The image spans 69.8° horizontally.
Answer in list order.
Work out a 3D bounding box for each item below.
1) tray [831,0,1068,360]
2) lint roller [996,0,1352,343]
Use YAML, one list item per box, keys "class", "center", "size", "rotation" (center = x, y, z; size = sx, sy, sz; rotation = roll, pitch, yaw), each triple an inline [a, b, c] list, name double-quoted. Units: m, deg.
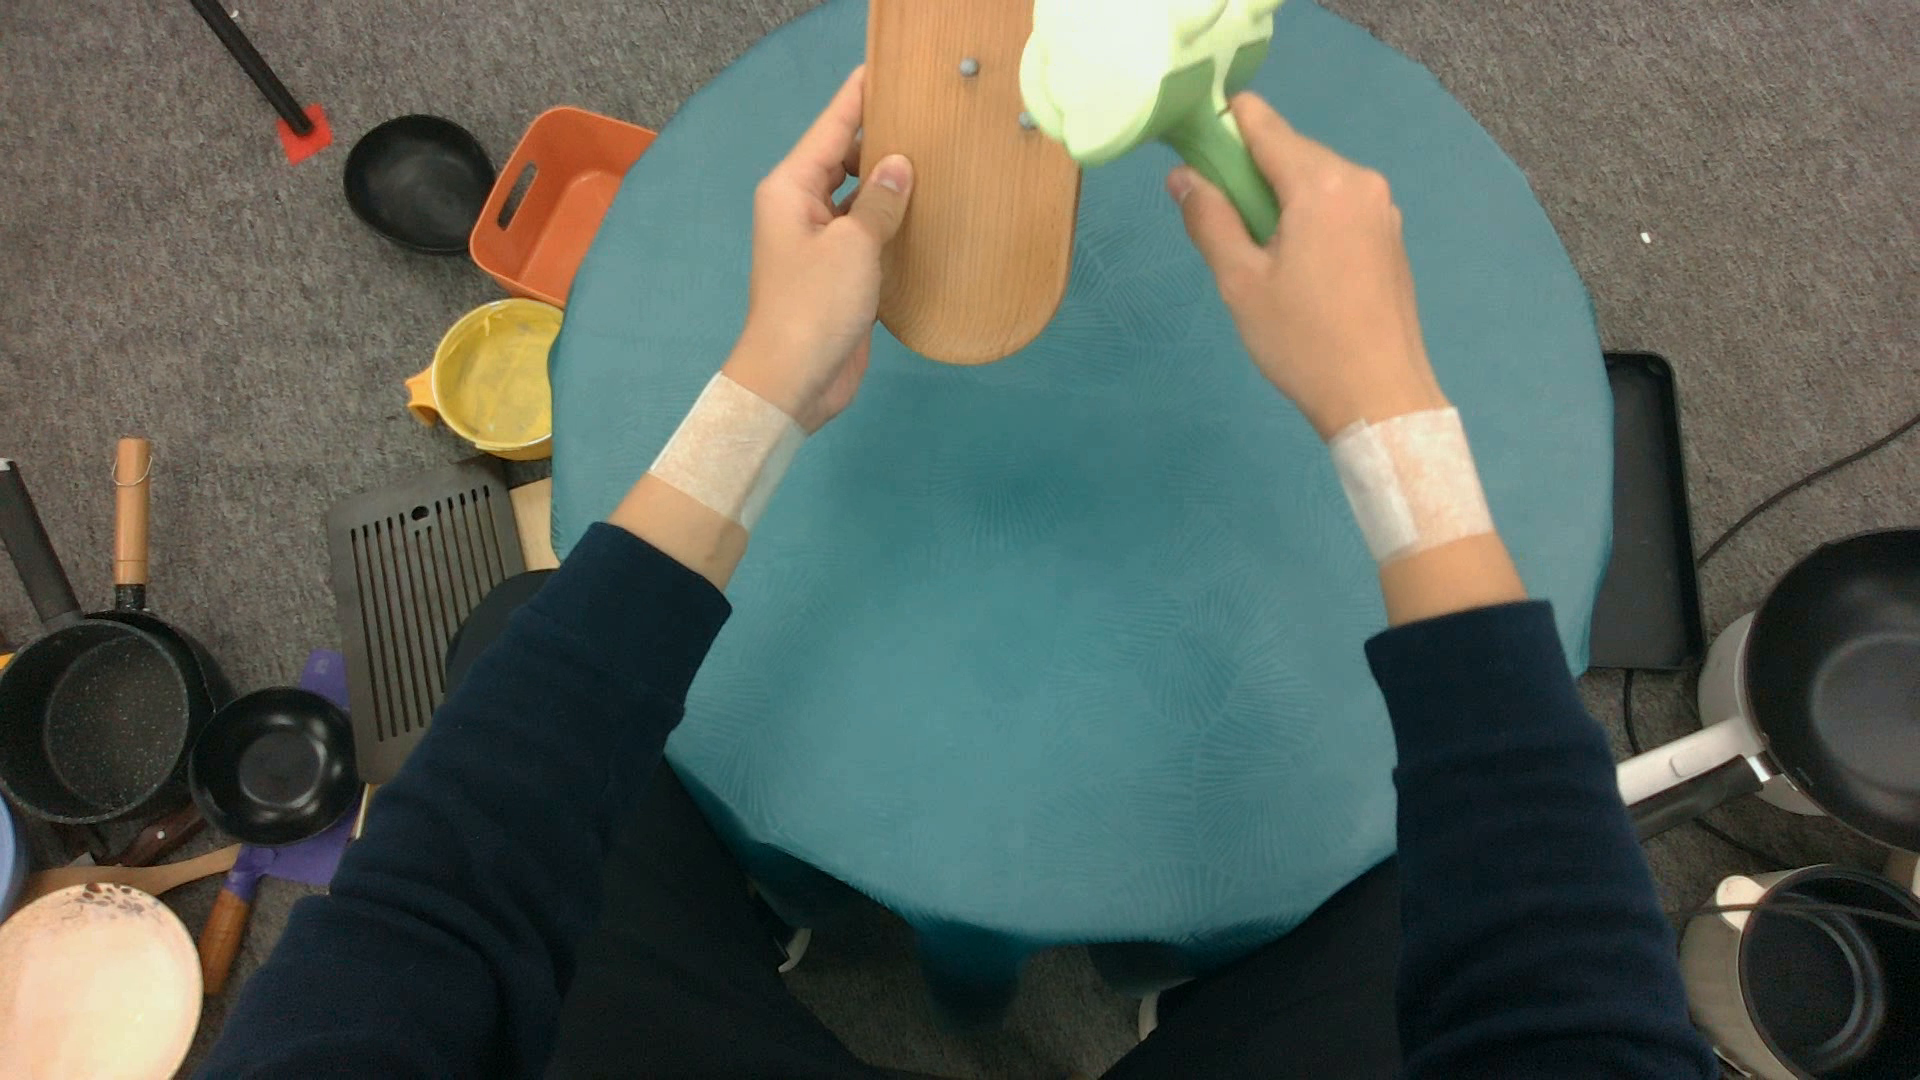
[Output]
- class: "tray"
  center: [-0.005, -0.193, 0.597]
  size: [0.101, 0.020, 0.230]
  rotation: [9, 112, 15]
- class: "lint roller"
  center: [0.115, -0.168, 0.575]
  size: [0.183, 0.082, 0.199]
  rotation: [43, 34, 1]
